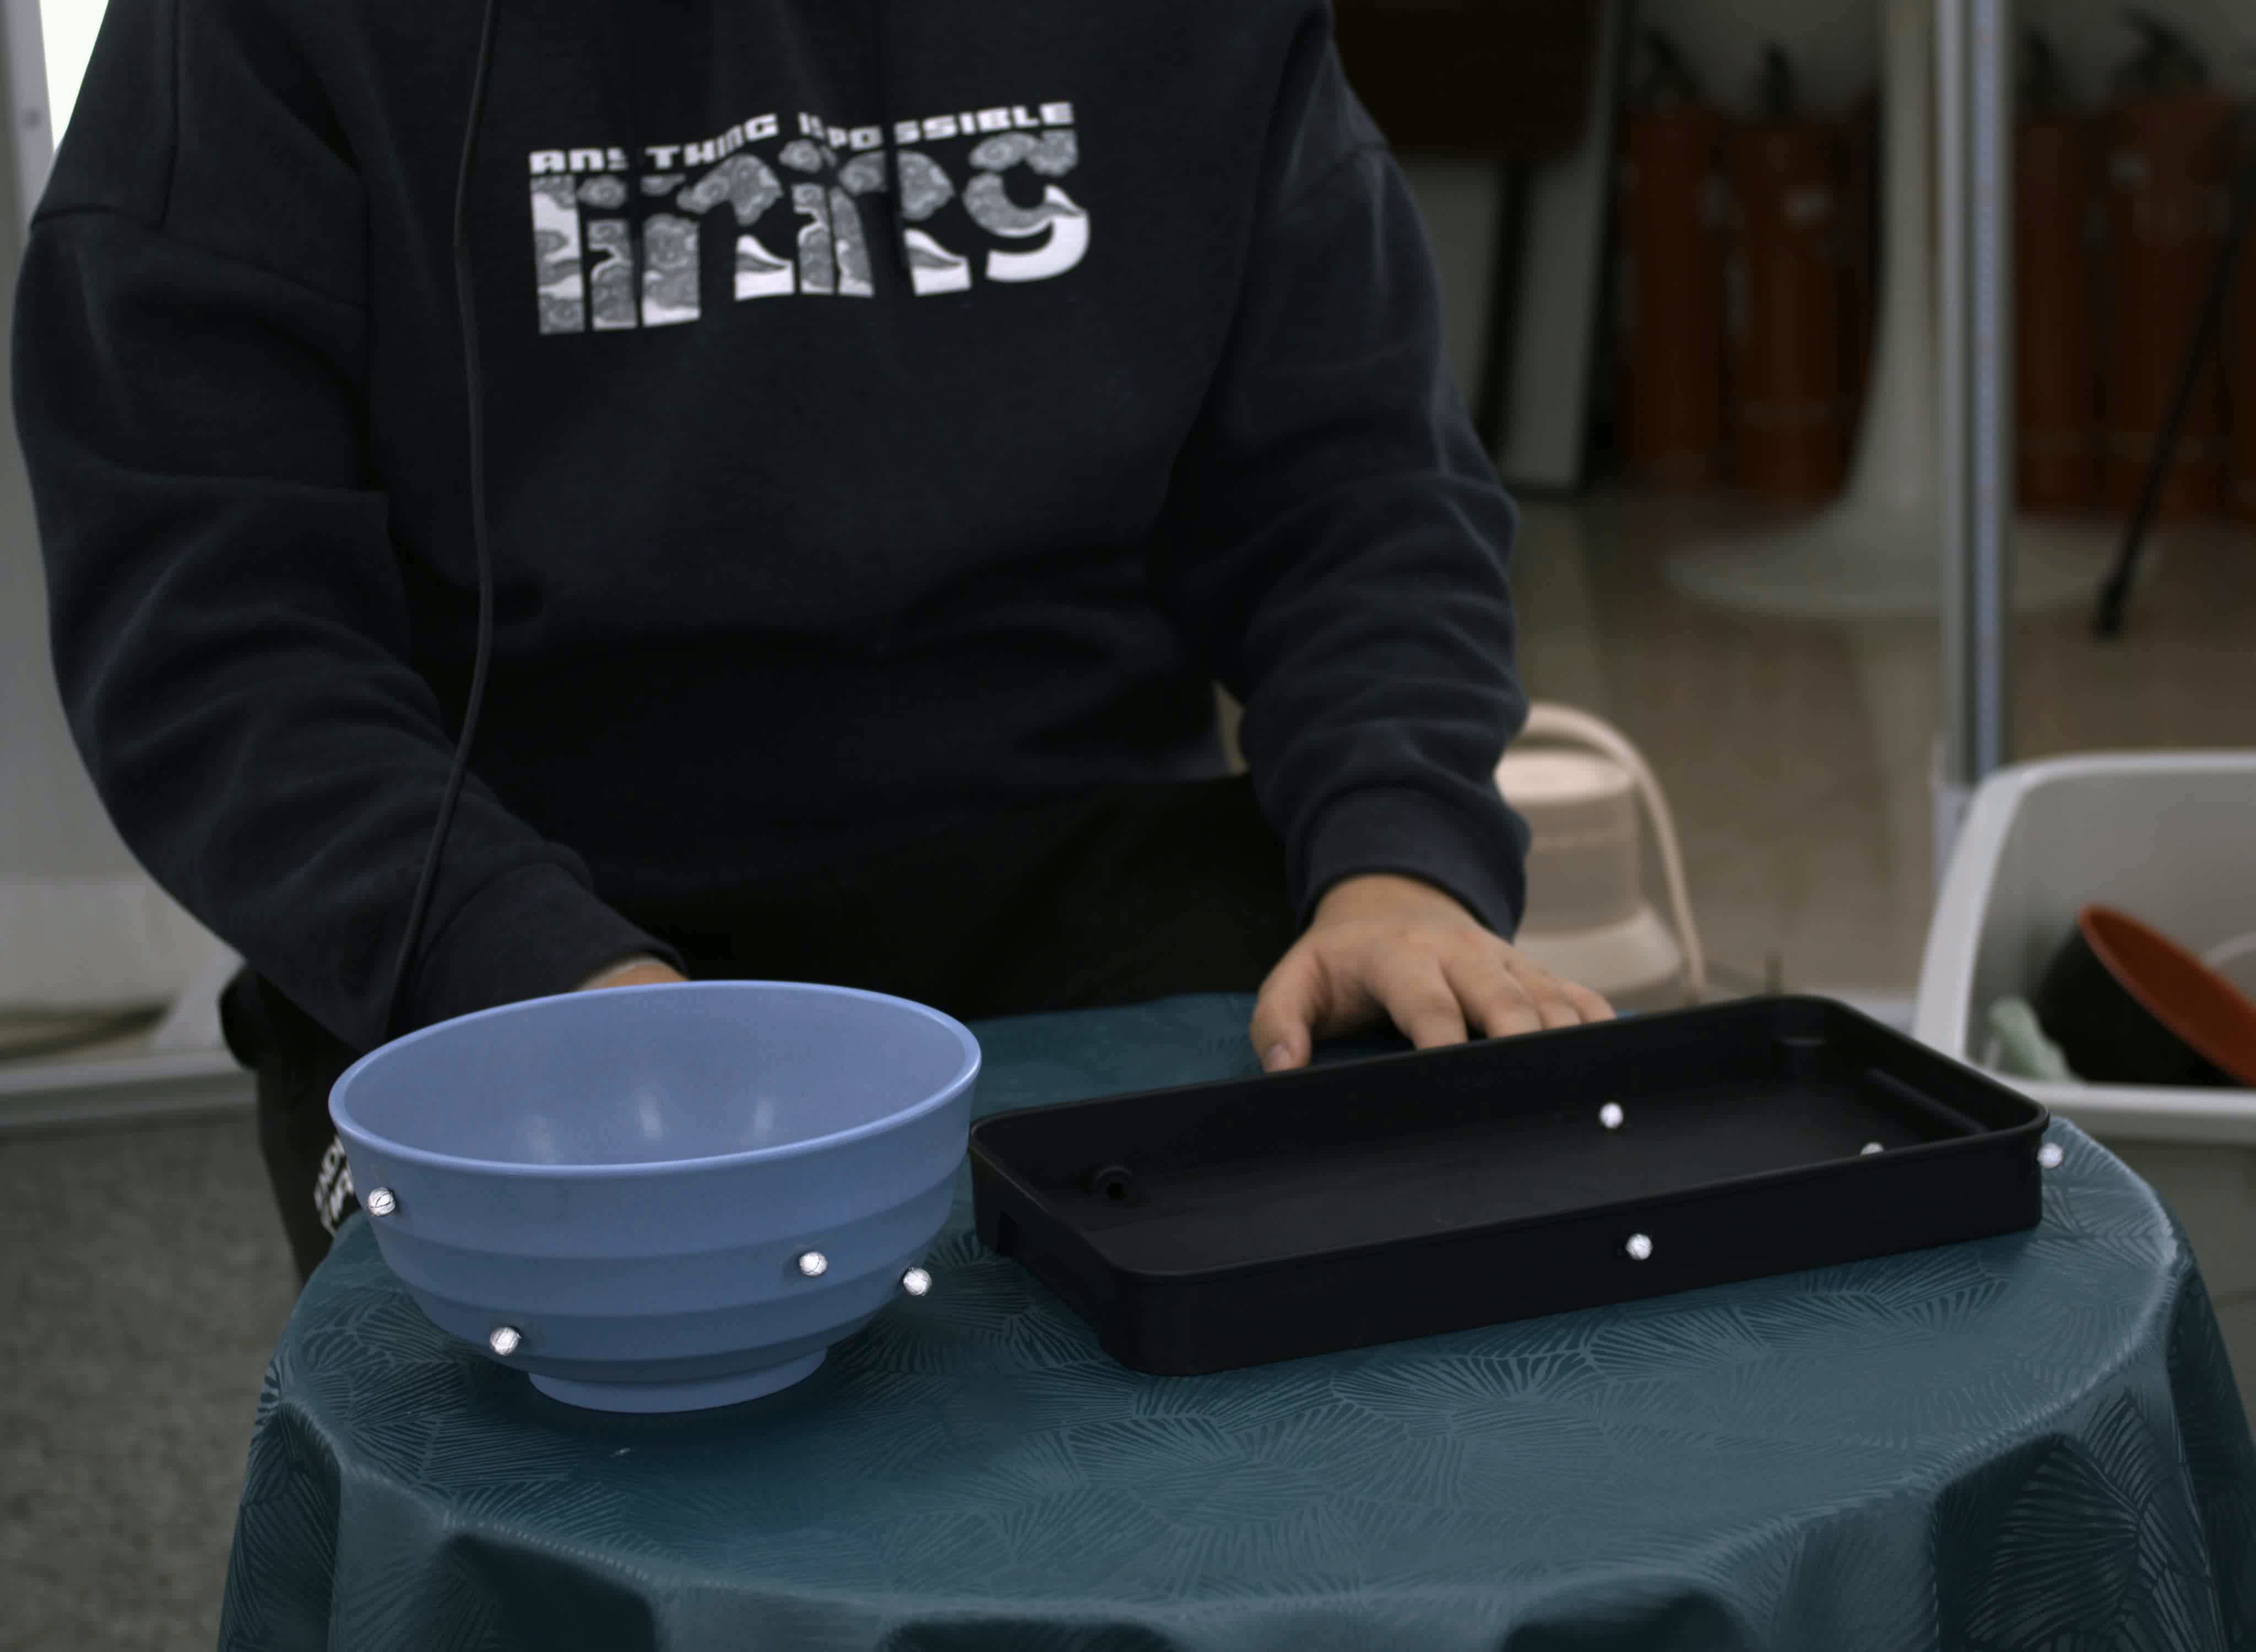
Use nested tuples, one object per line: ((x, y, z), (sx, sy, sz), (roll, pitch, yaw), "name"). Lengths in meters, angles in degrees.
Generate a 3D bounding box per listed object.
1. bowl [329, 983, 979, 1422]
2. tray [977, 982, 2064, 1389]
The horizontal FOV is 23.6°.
((-0.138, 0.119, 1.626), (0.194, 0.096, 0.197), (-5, 14, 0), "bowl")
((0.124, 0.110, 1.714), (0.311, 0.037, 0.186), (-10, 14, -19), "tray")
